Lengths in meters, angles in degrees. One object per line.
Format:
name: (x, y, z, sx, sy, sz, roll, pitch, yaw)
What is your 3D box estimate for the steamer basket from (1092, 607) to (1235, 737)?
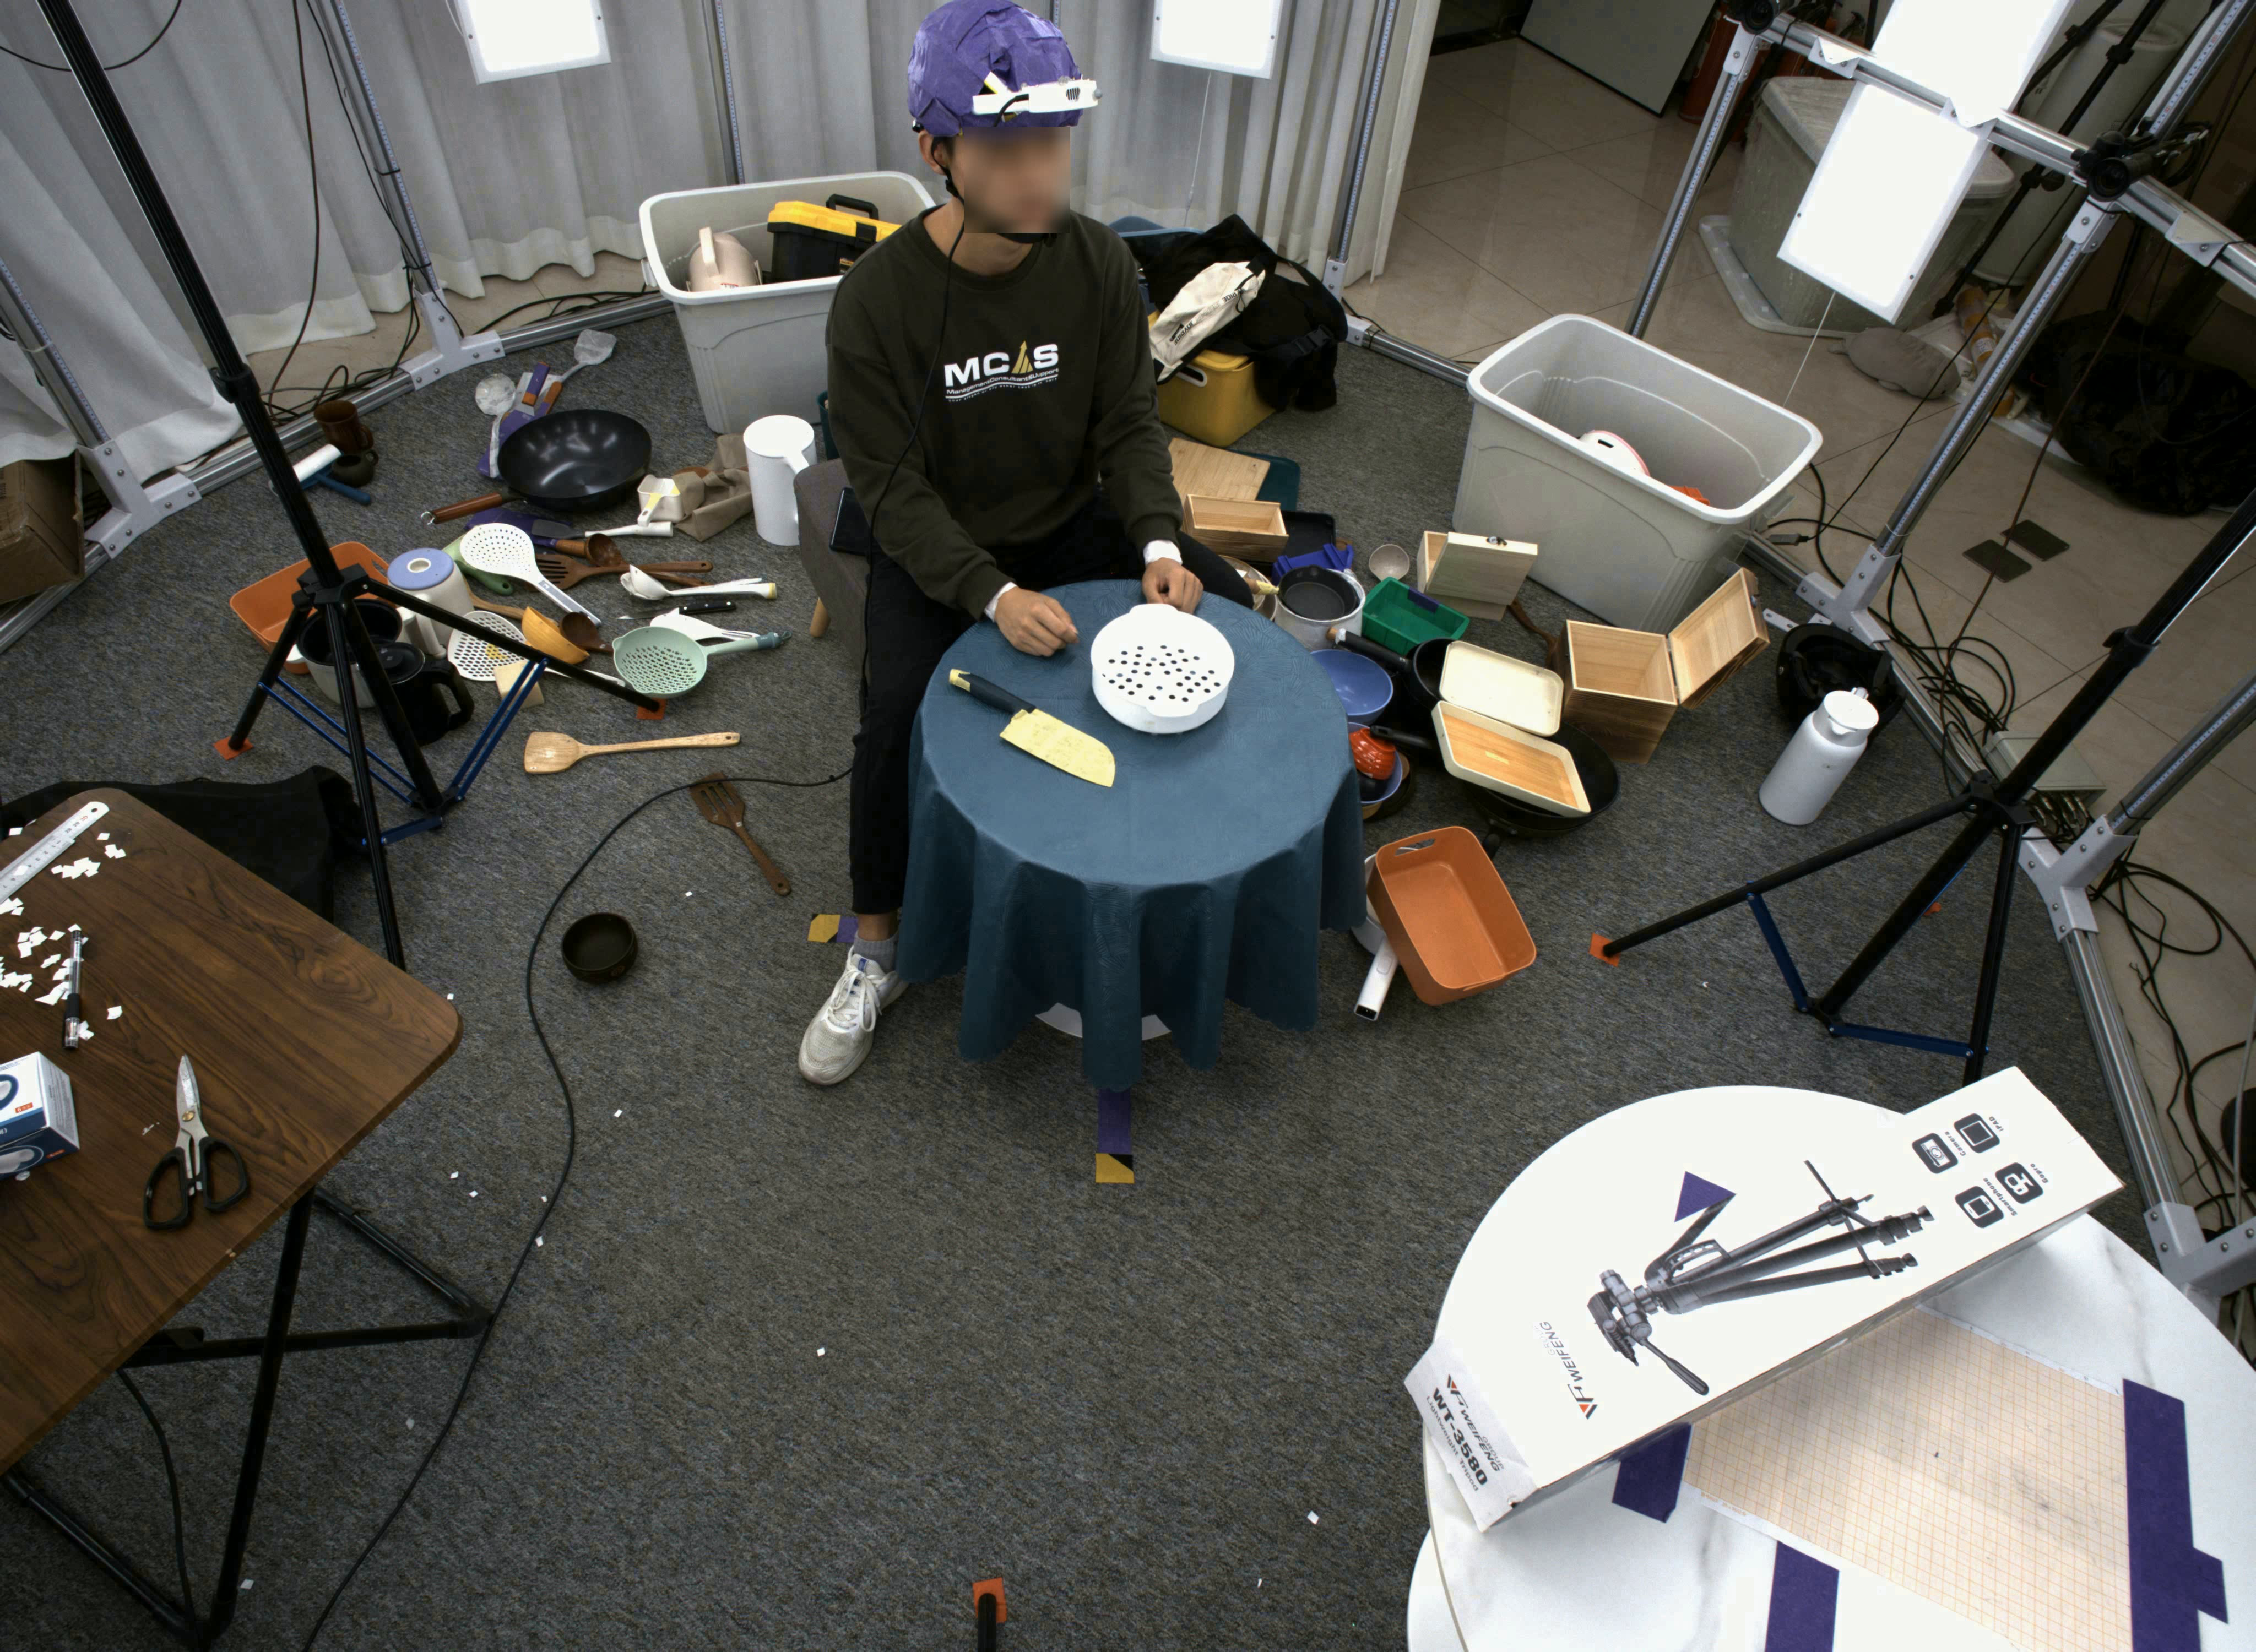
steamer basket: (0.048, -0.214, 1.813, 0.201, 0.067, 0.236, -2, 48, -7)

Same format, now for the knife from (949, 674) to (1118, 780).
knife: (-0.136, -0.136, 1.766, 0.292, 0.026, 0.082, 29, 52, 19)
